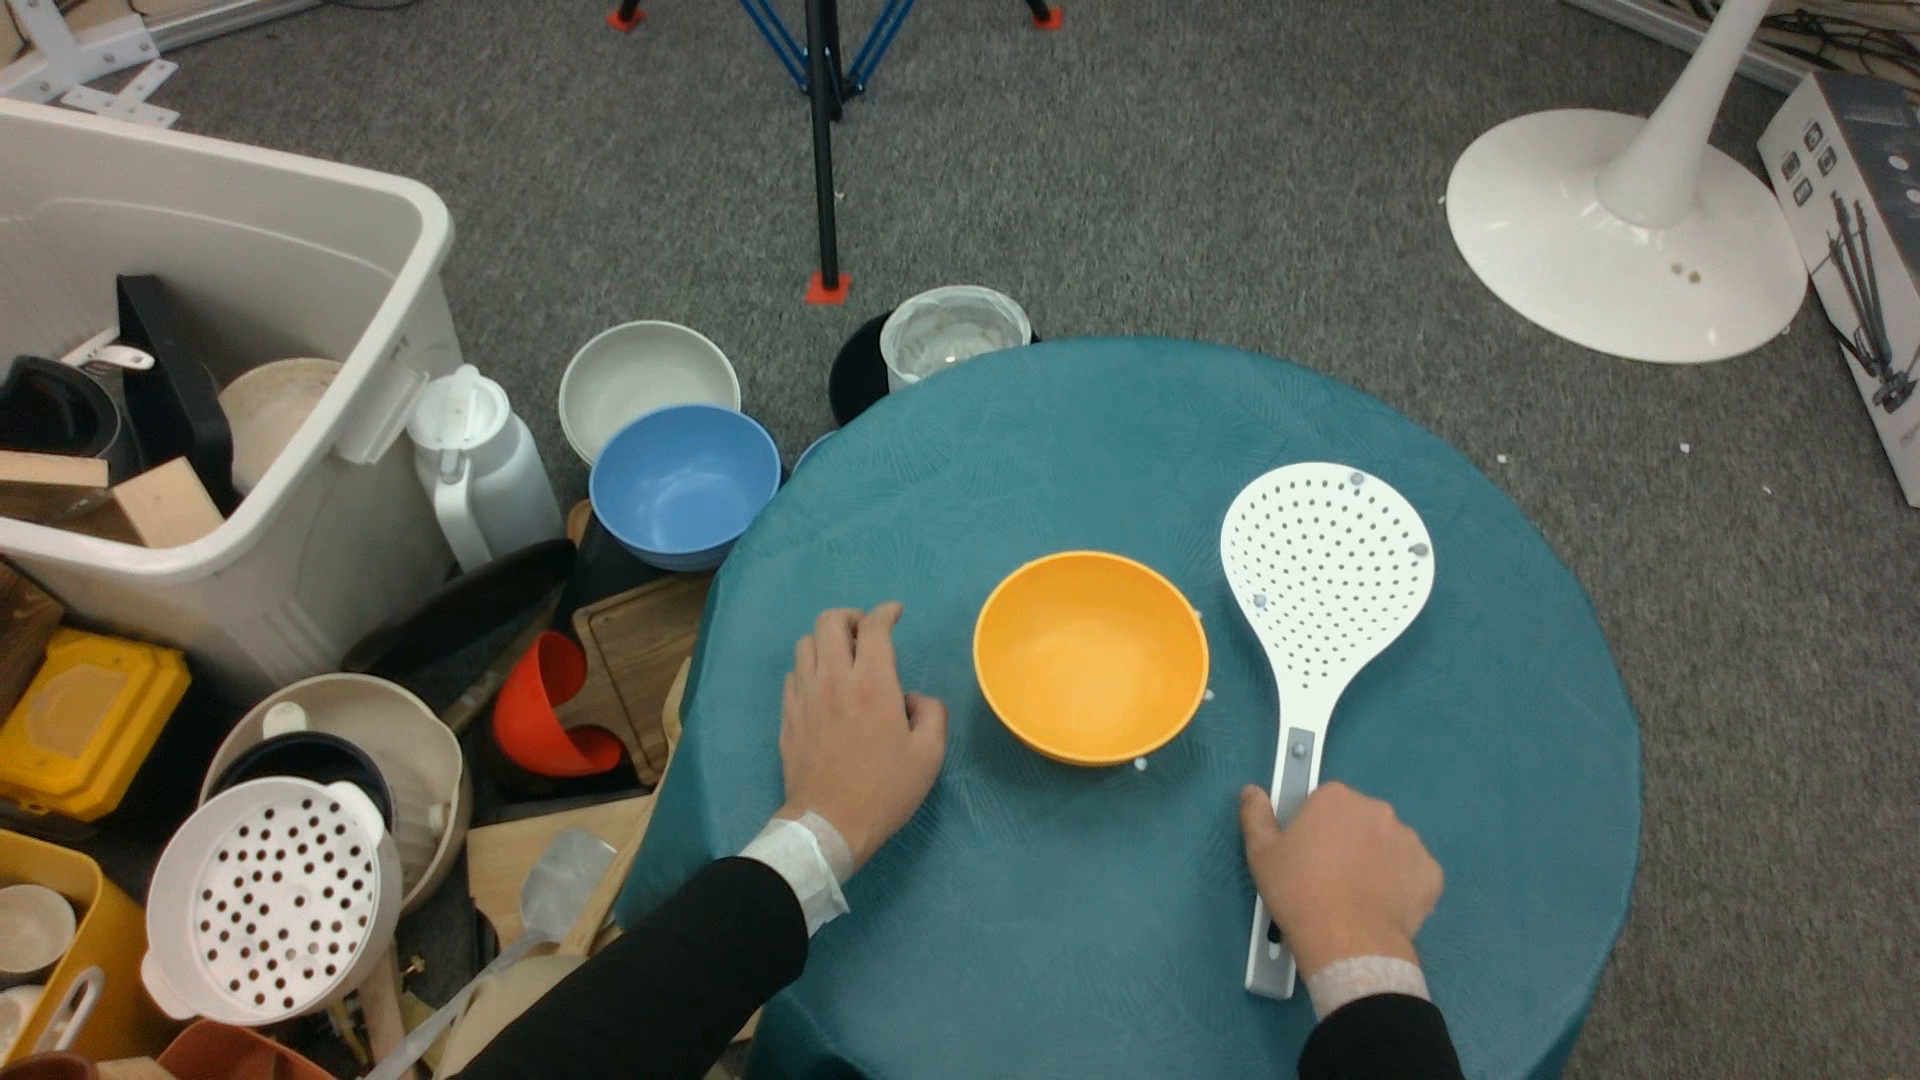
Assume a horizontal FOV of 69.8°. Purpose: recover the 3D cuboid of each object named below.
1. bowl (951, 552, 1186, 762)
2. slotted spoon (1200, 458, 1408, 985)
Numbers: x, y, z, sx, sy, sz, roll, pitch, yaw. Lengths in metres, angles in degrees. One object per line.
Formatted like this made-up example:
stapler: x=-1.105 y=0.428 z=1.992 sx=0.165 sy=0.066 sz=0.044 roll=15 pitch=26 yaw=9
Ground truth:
bowl: x=0.065 y=0.082 z=0.859 sx=0.145 sy=0.060 sz=0.146 roll=1 pitch=54 yaw=-1
slotted spoon: x=0.201 y=0.100 z=0.859 sx=0.136 sy=0.045 sz=0.351 roll=12 pitch=57 yaw=7
